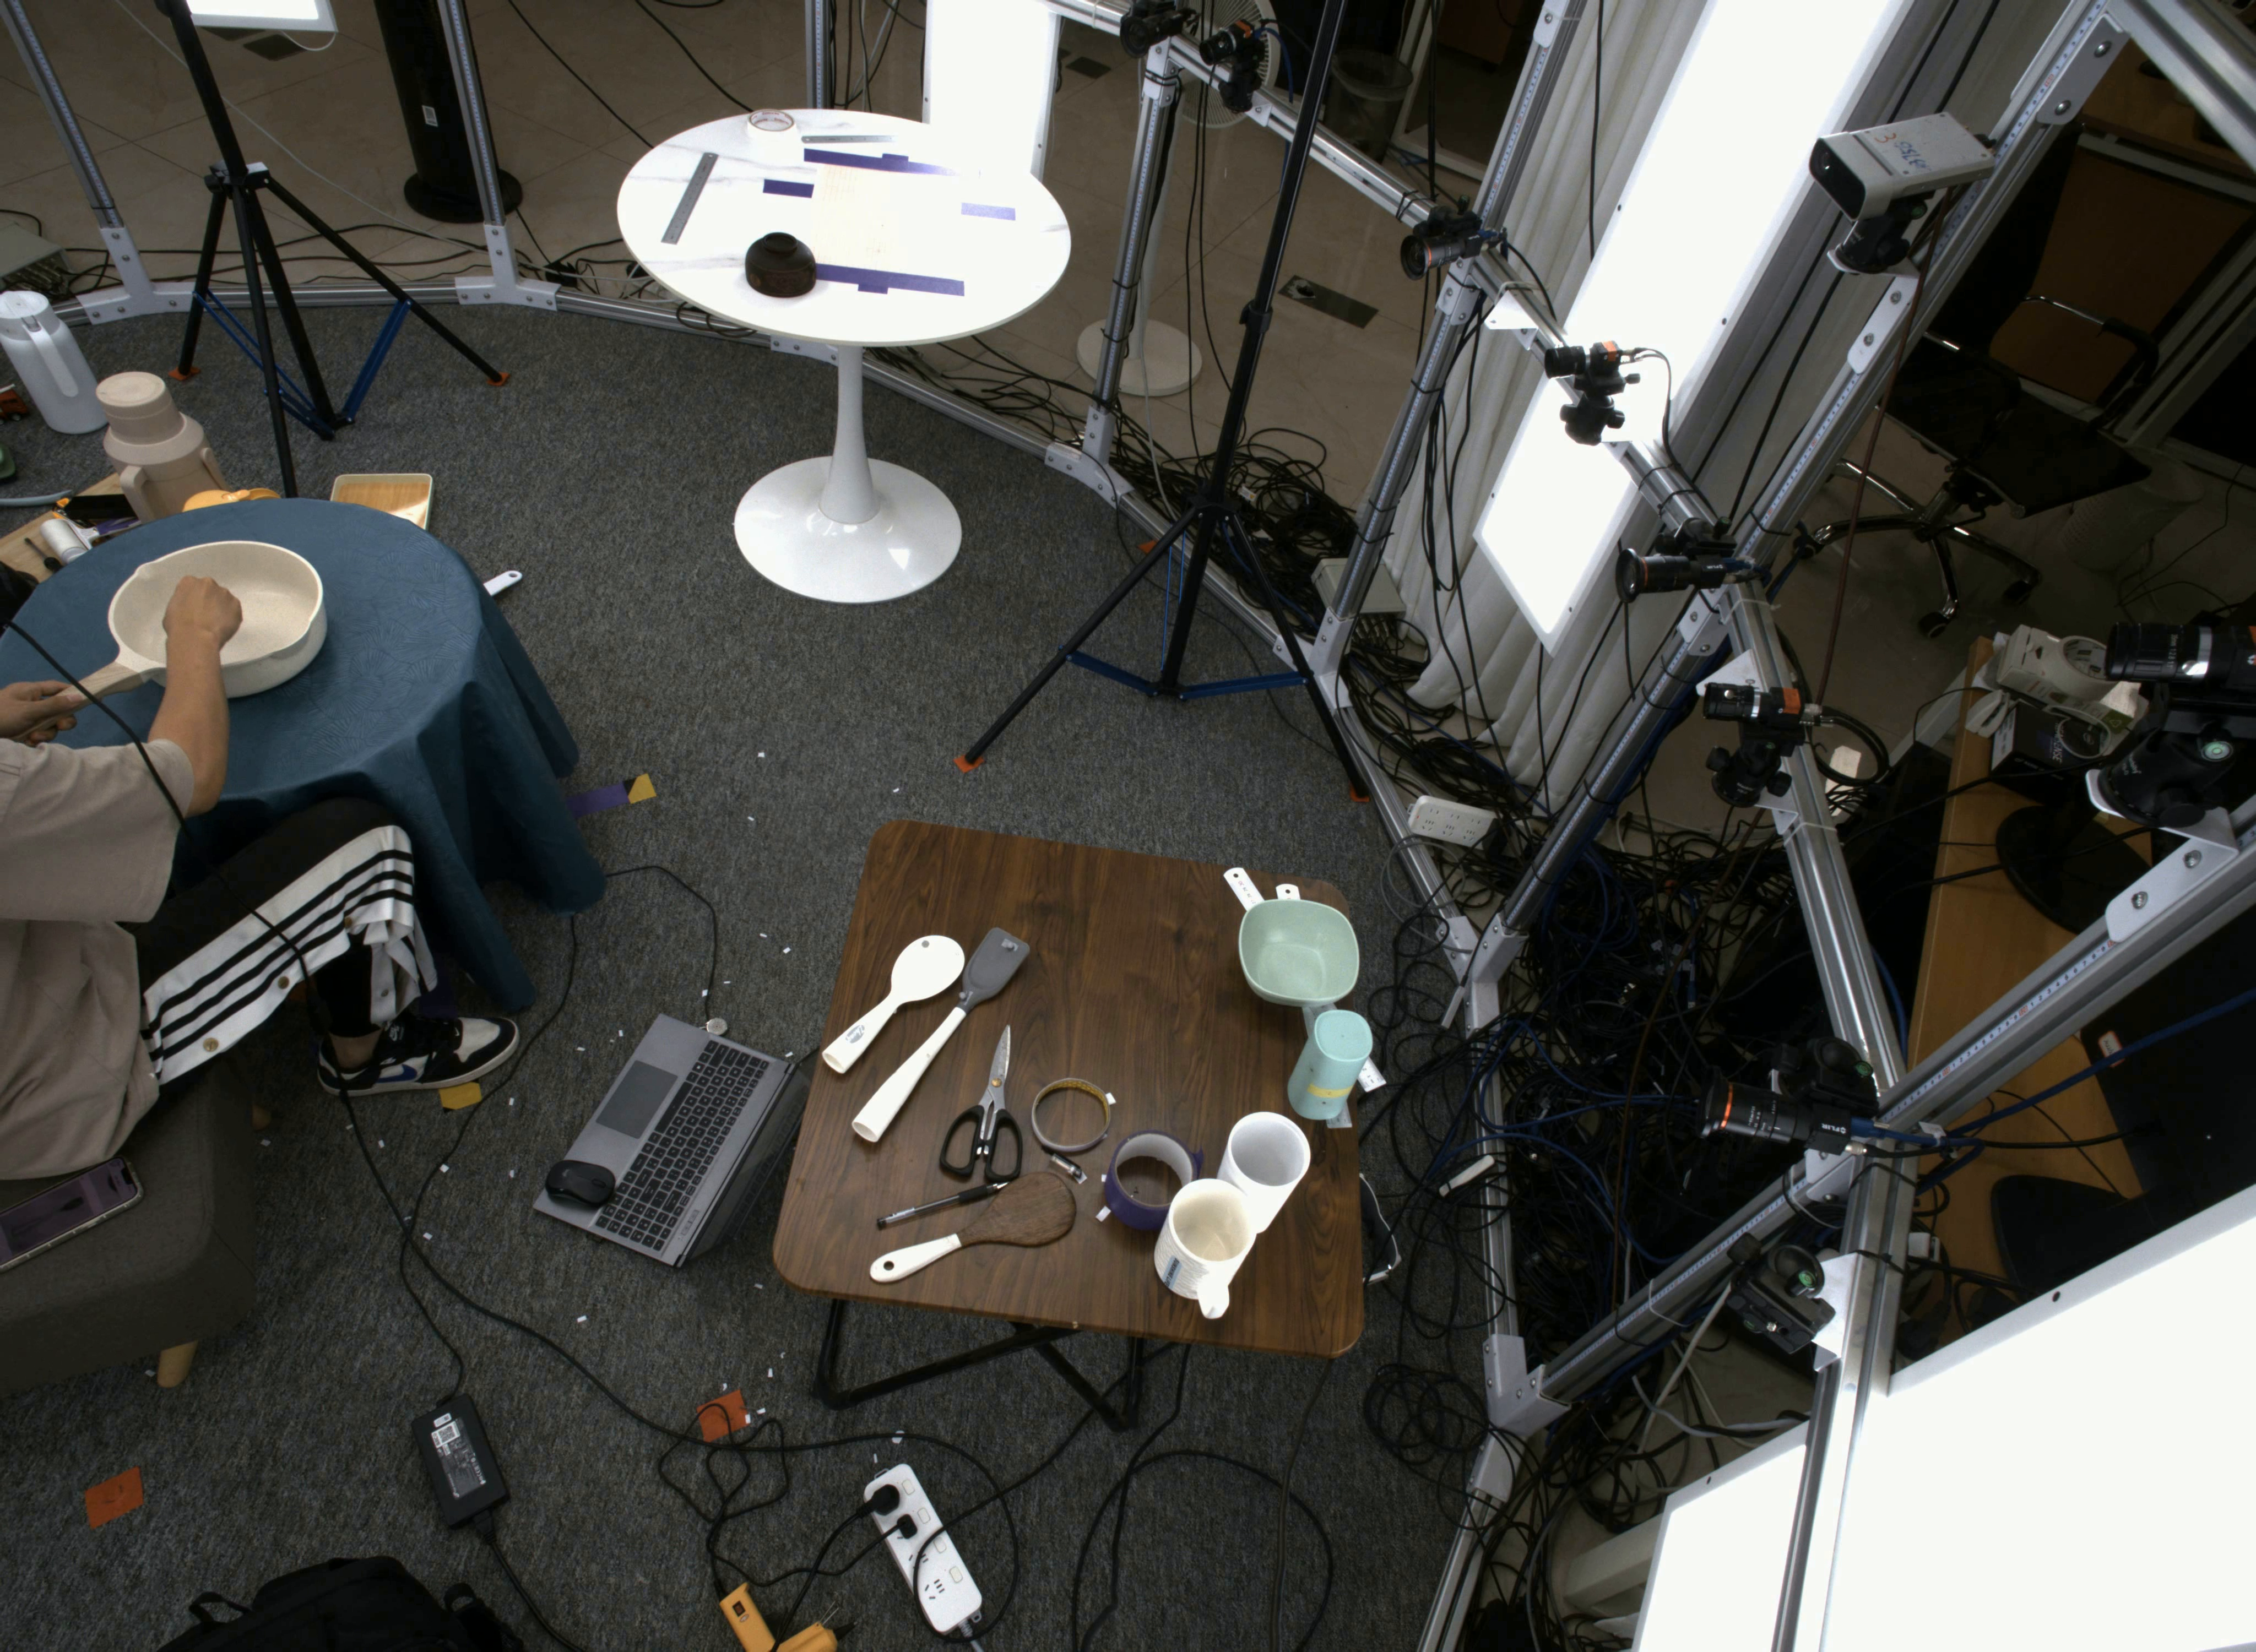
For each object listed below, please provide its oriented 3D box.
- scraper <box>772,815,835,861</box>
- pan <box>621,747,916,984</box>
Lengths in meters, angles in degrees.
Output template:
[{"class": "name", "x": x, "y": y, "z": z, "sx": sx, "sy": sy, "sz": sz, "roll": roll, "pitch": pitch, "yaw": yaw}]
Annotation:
[{"class": "scraper", "x": -0.395, "y": 0.012, "z": 1.586, "sx": 0.039, "sy": 0.015, "sz": 0.165, "roll": -3, "pitch": 18, "yaw": -31}, {"class": "pan", "x": -0.454, "y": 0.069, "z": 1.615, "sx": 0.258, "sy": 0.104, "sz": 0.435, "roll": 37, "pitch": 55, "yaw": 13}]
